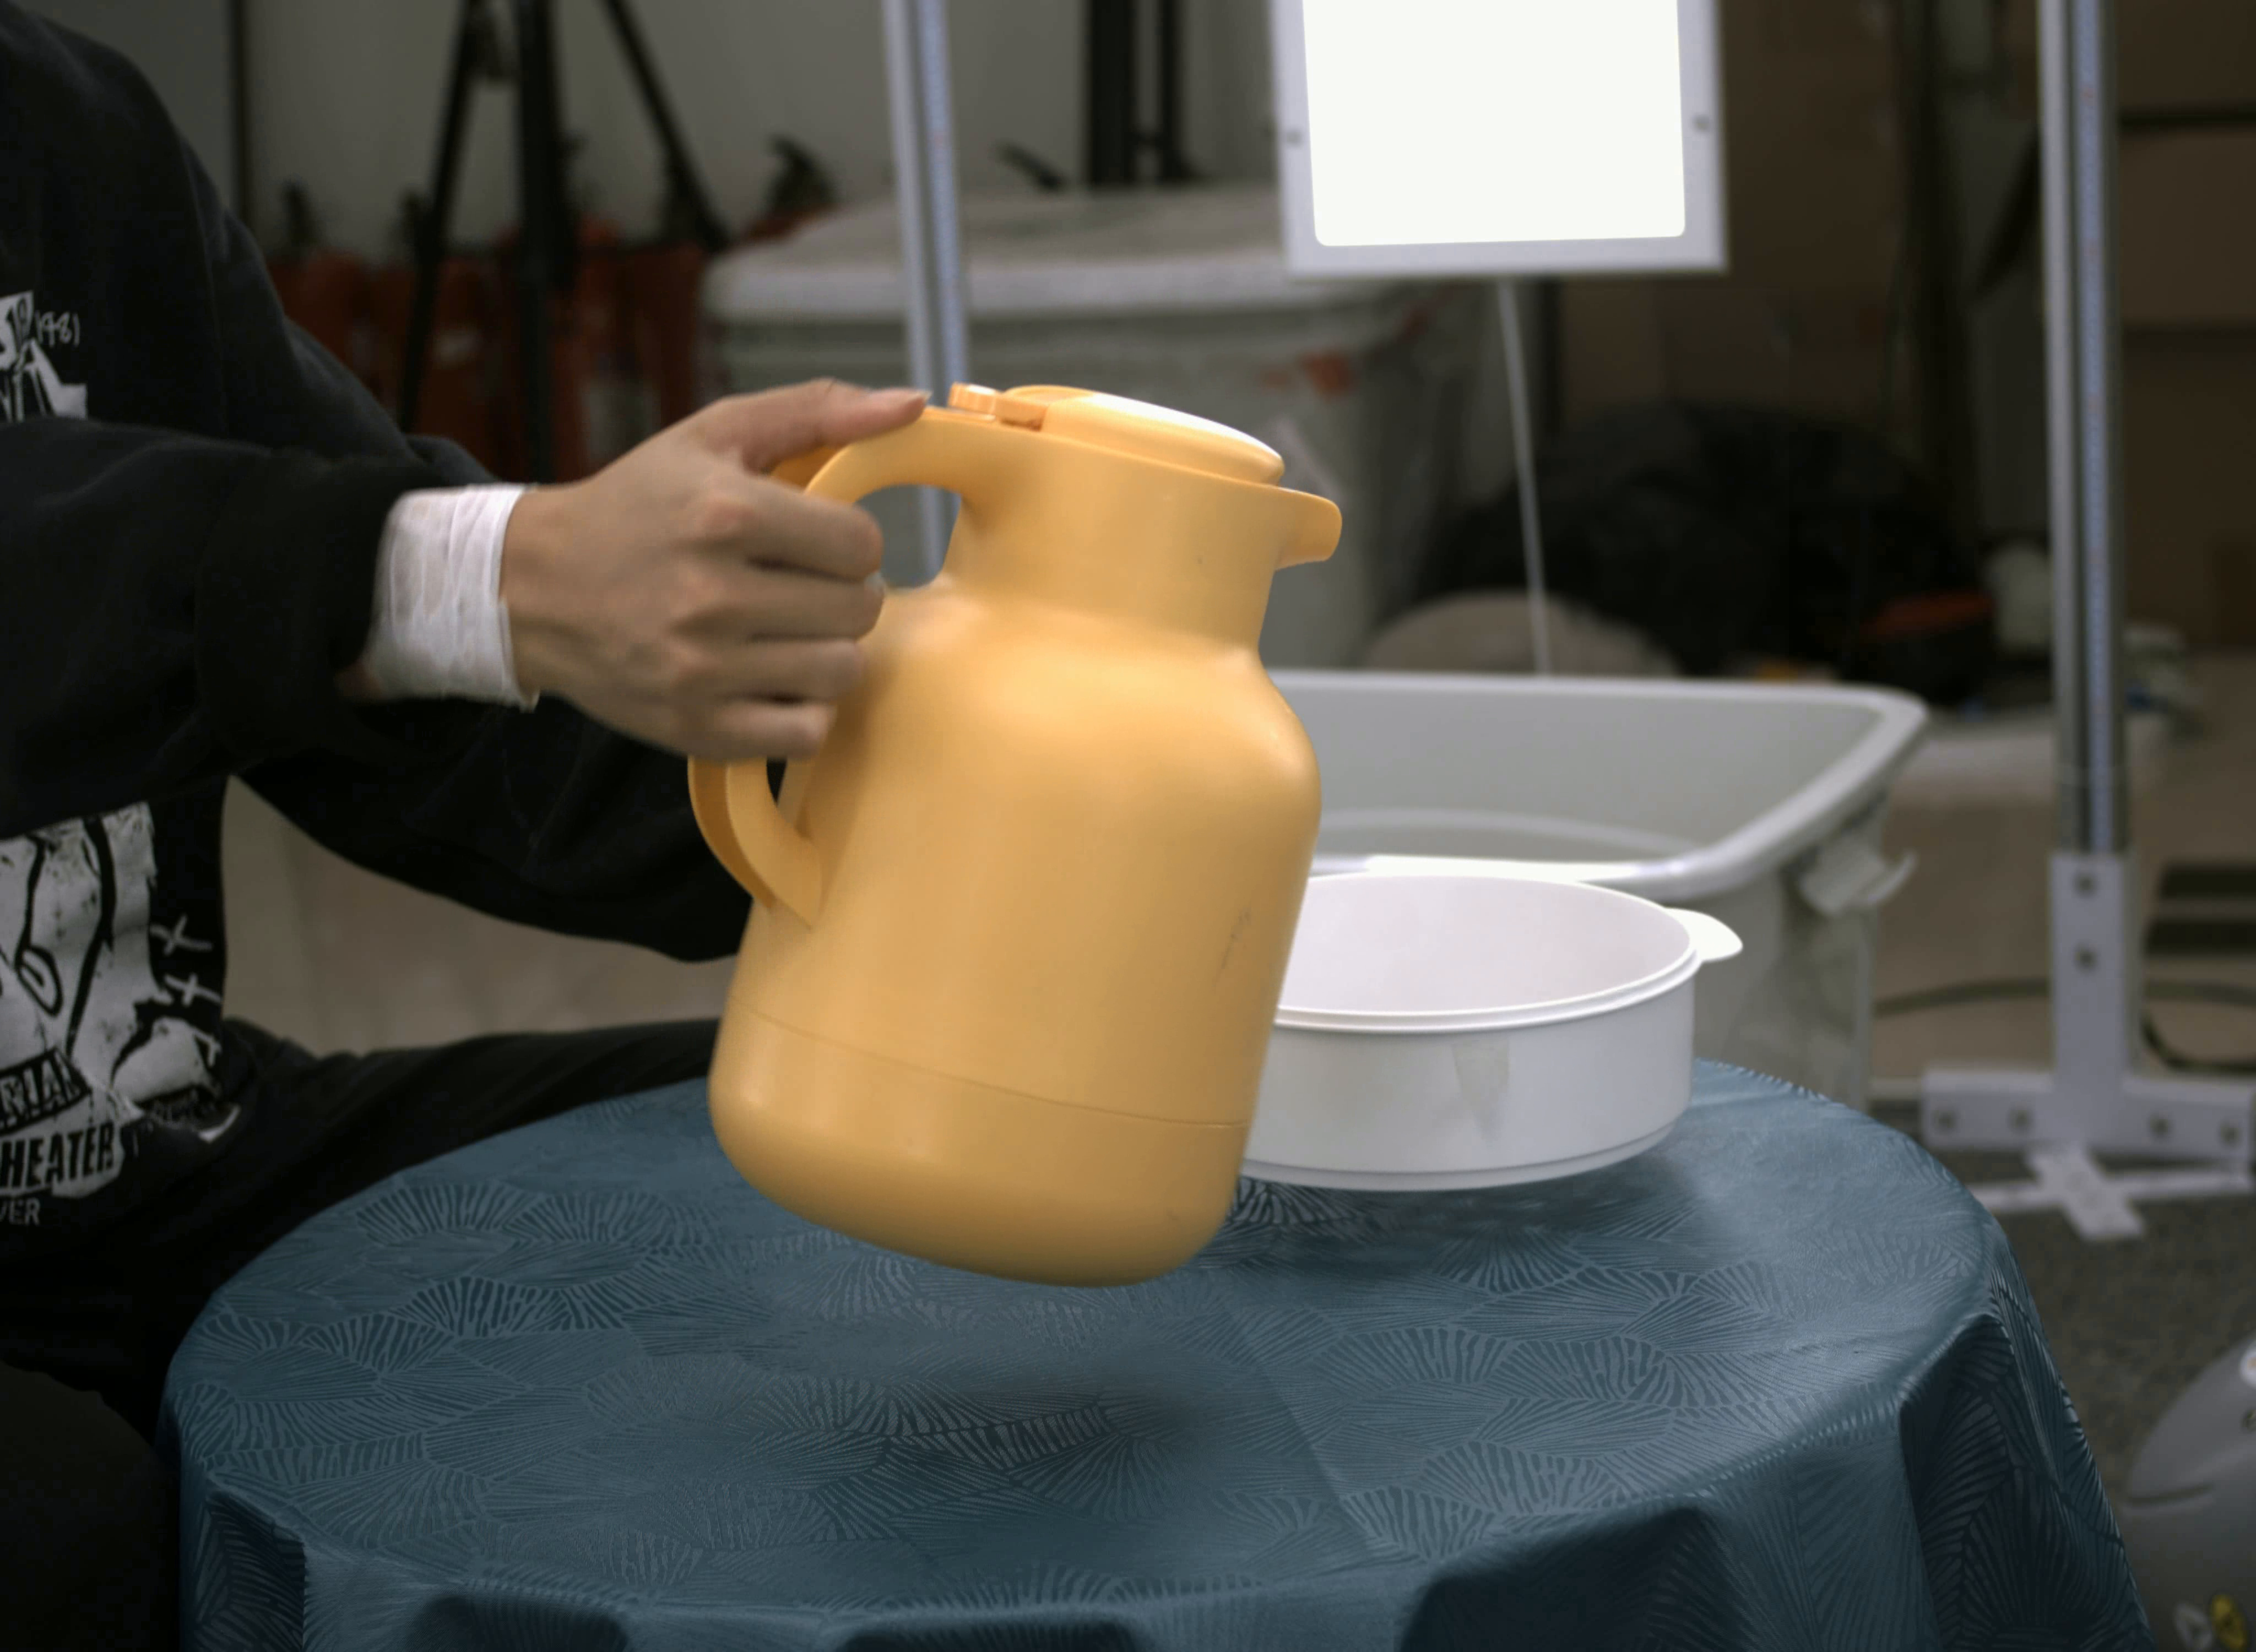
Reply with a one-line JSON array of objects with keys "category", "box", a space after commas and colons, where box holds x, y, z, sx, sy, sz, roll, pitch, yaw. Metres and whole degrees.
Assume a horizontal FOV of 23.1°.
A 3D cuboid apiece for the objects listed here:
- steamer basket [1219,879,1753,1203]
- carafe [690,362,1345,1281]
[{"category": "steamer basket", "box": [0.101, 0.073, 1.886, 0.228, 0.069, 0.203, -4, 14, -8]}, {"category": "carafe", "box": [-0.042, -0.007, 1.640, 0.198, 0.261, 0.166, 14, 2, -31]}]
